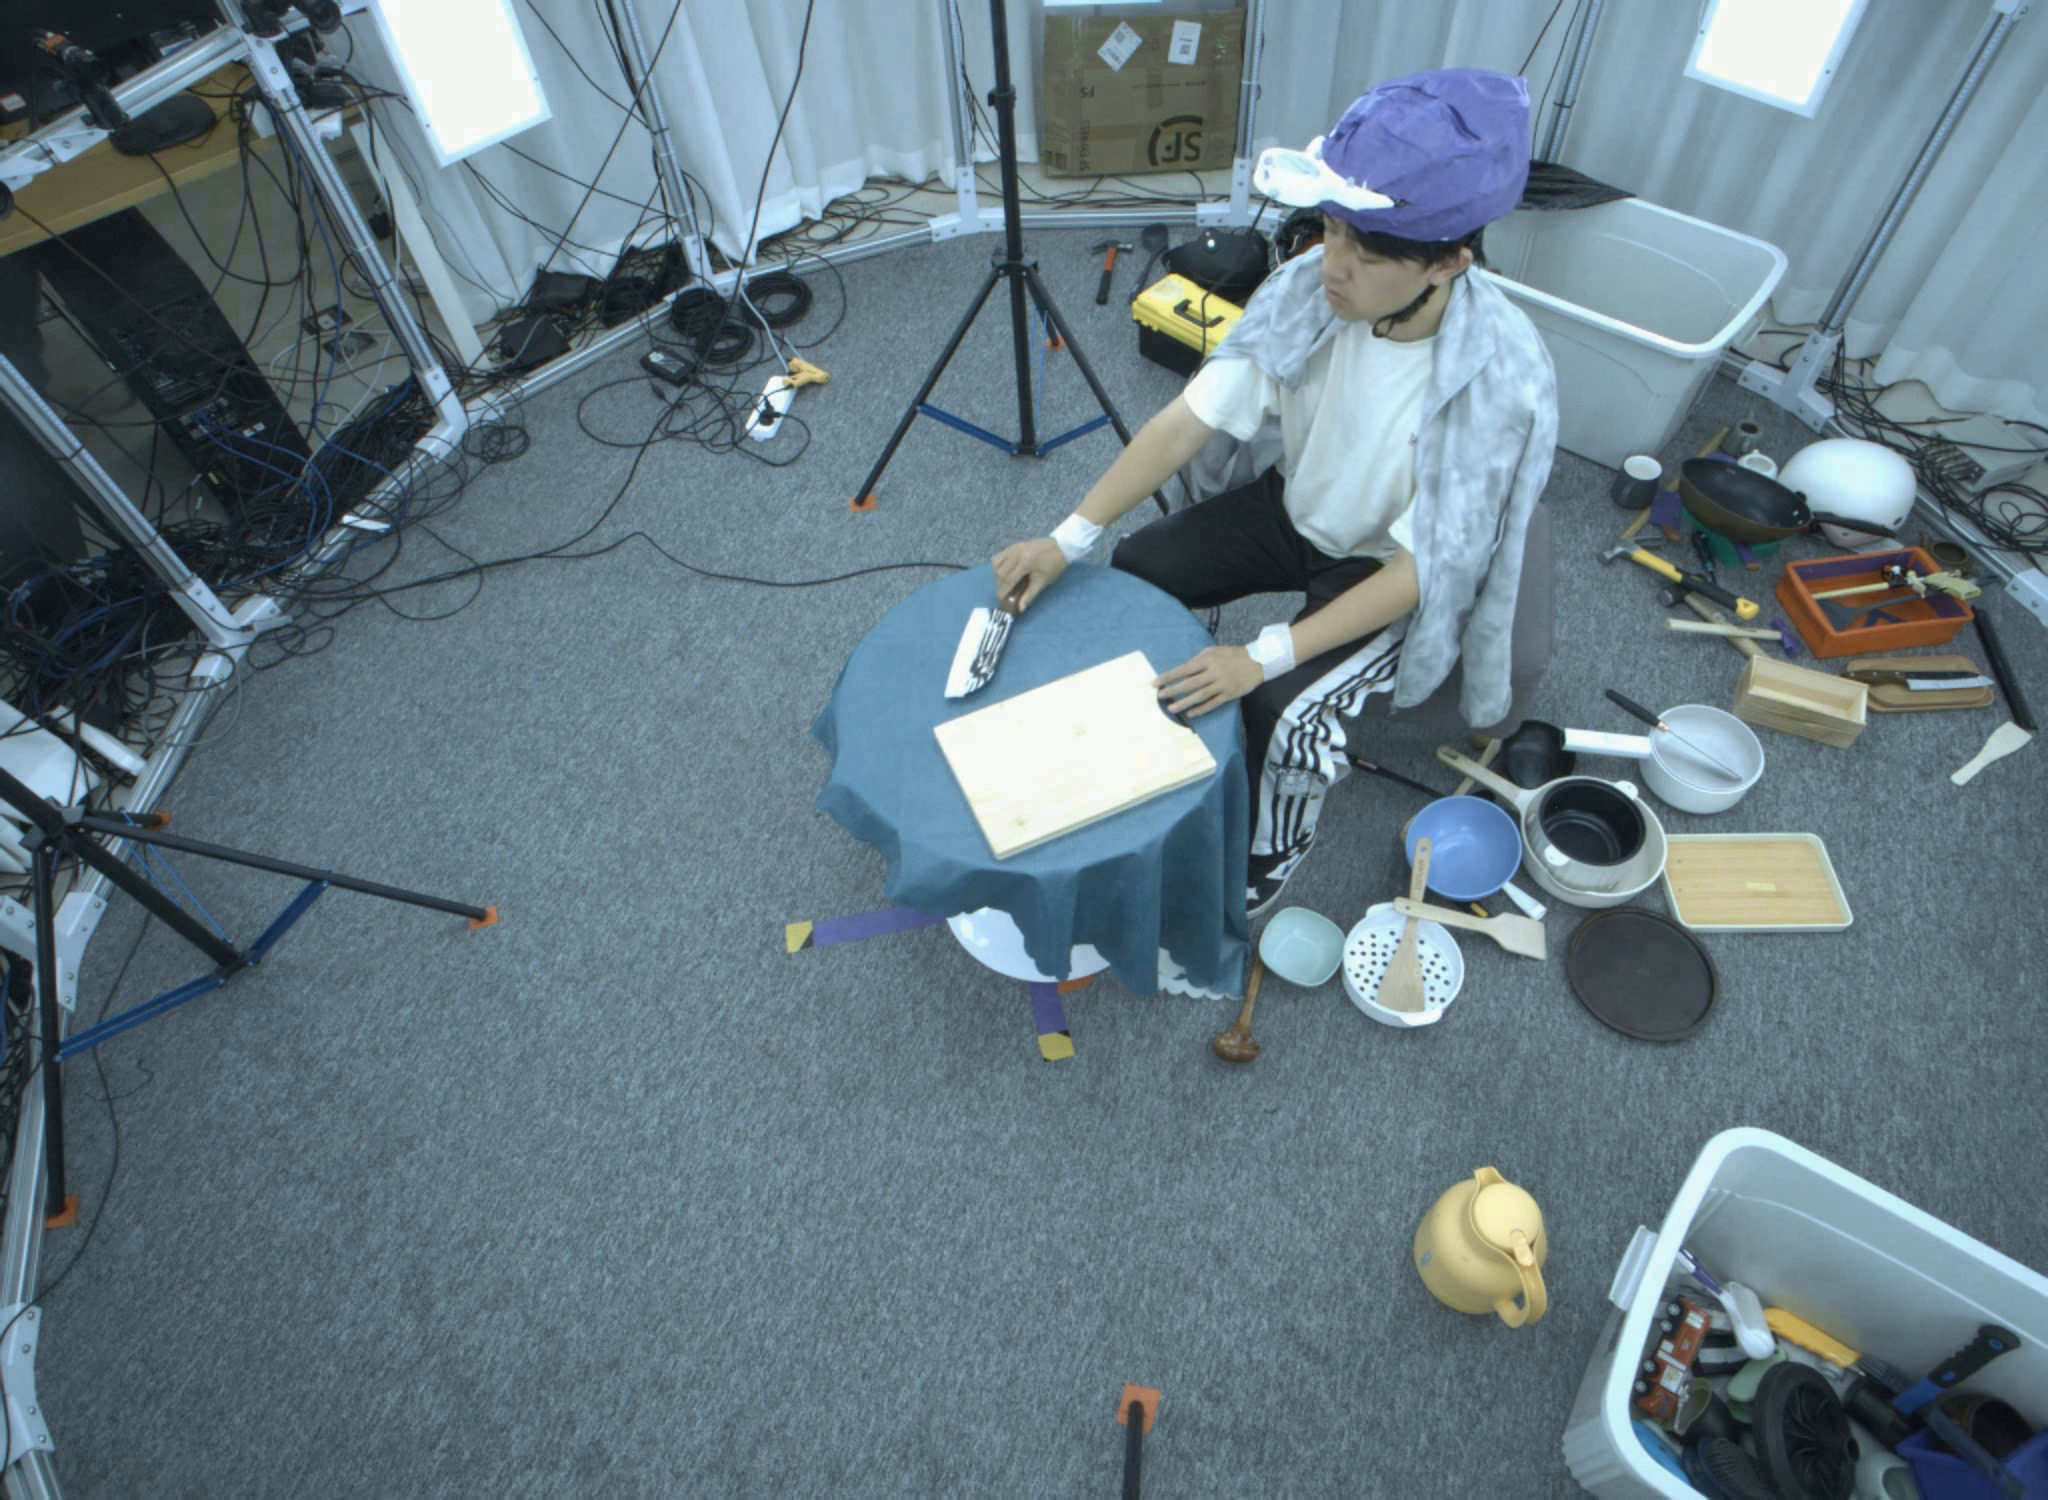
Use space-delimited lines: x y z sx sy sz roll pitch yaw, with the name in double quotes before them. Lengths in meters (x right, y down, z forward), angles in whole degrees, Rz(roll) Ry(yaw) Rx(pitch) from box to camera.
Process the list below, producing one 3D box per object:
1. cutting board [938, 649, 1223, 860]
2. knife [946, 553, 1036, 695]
"cutting board" 0.075 -0.002 1.779 0.351 0.024 0.246 -22 57 -13
"knife" -0.051 -0.198 1.902 0.067 0.024 0.298 15 59 10
